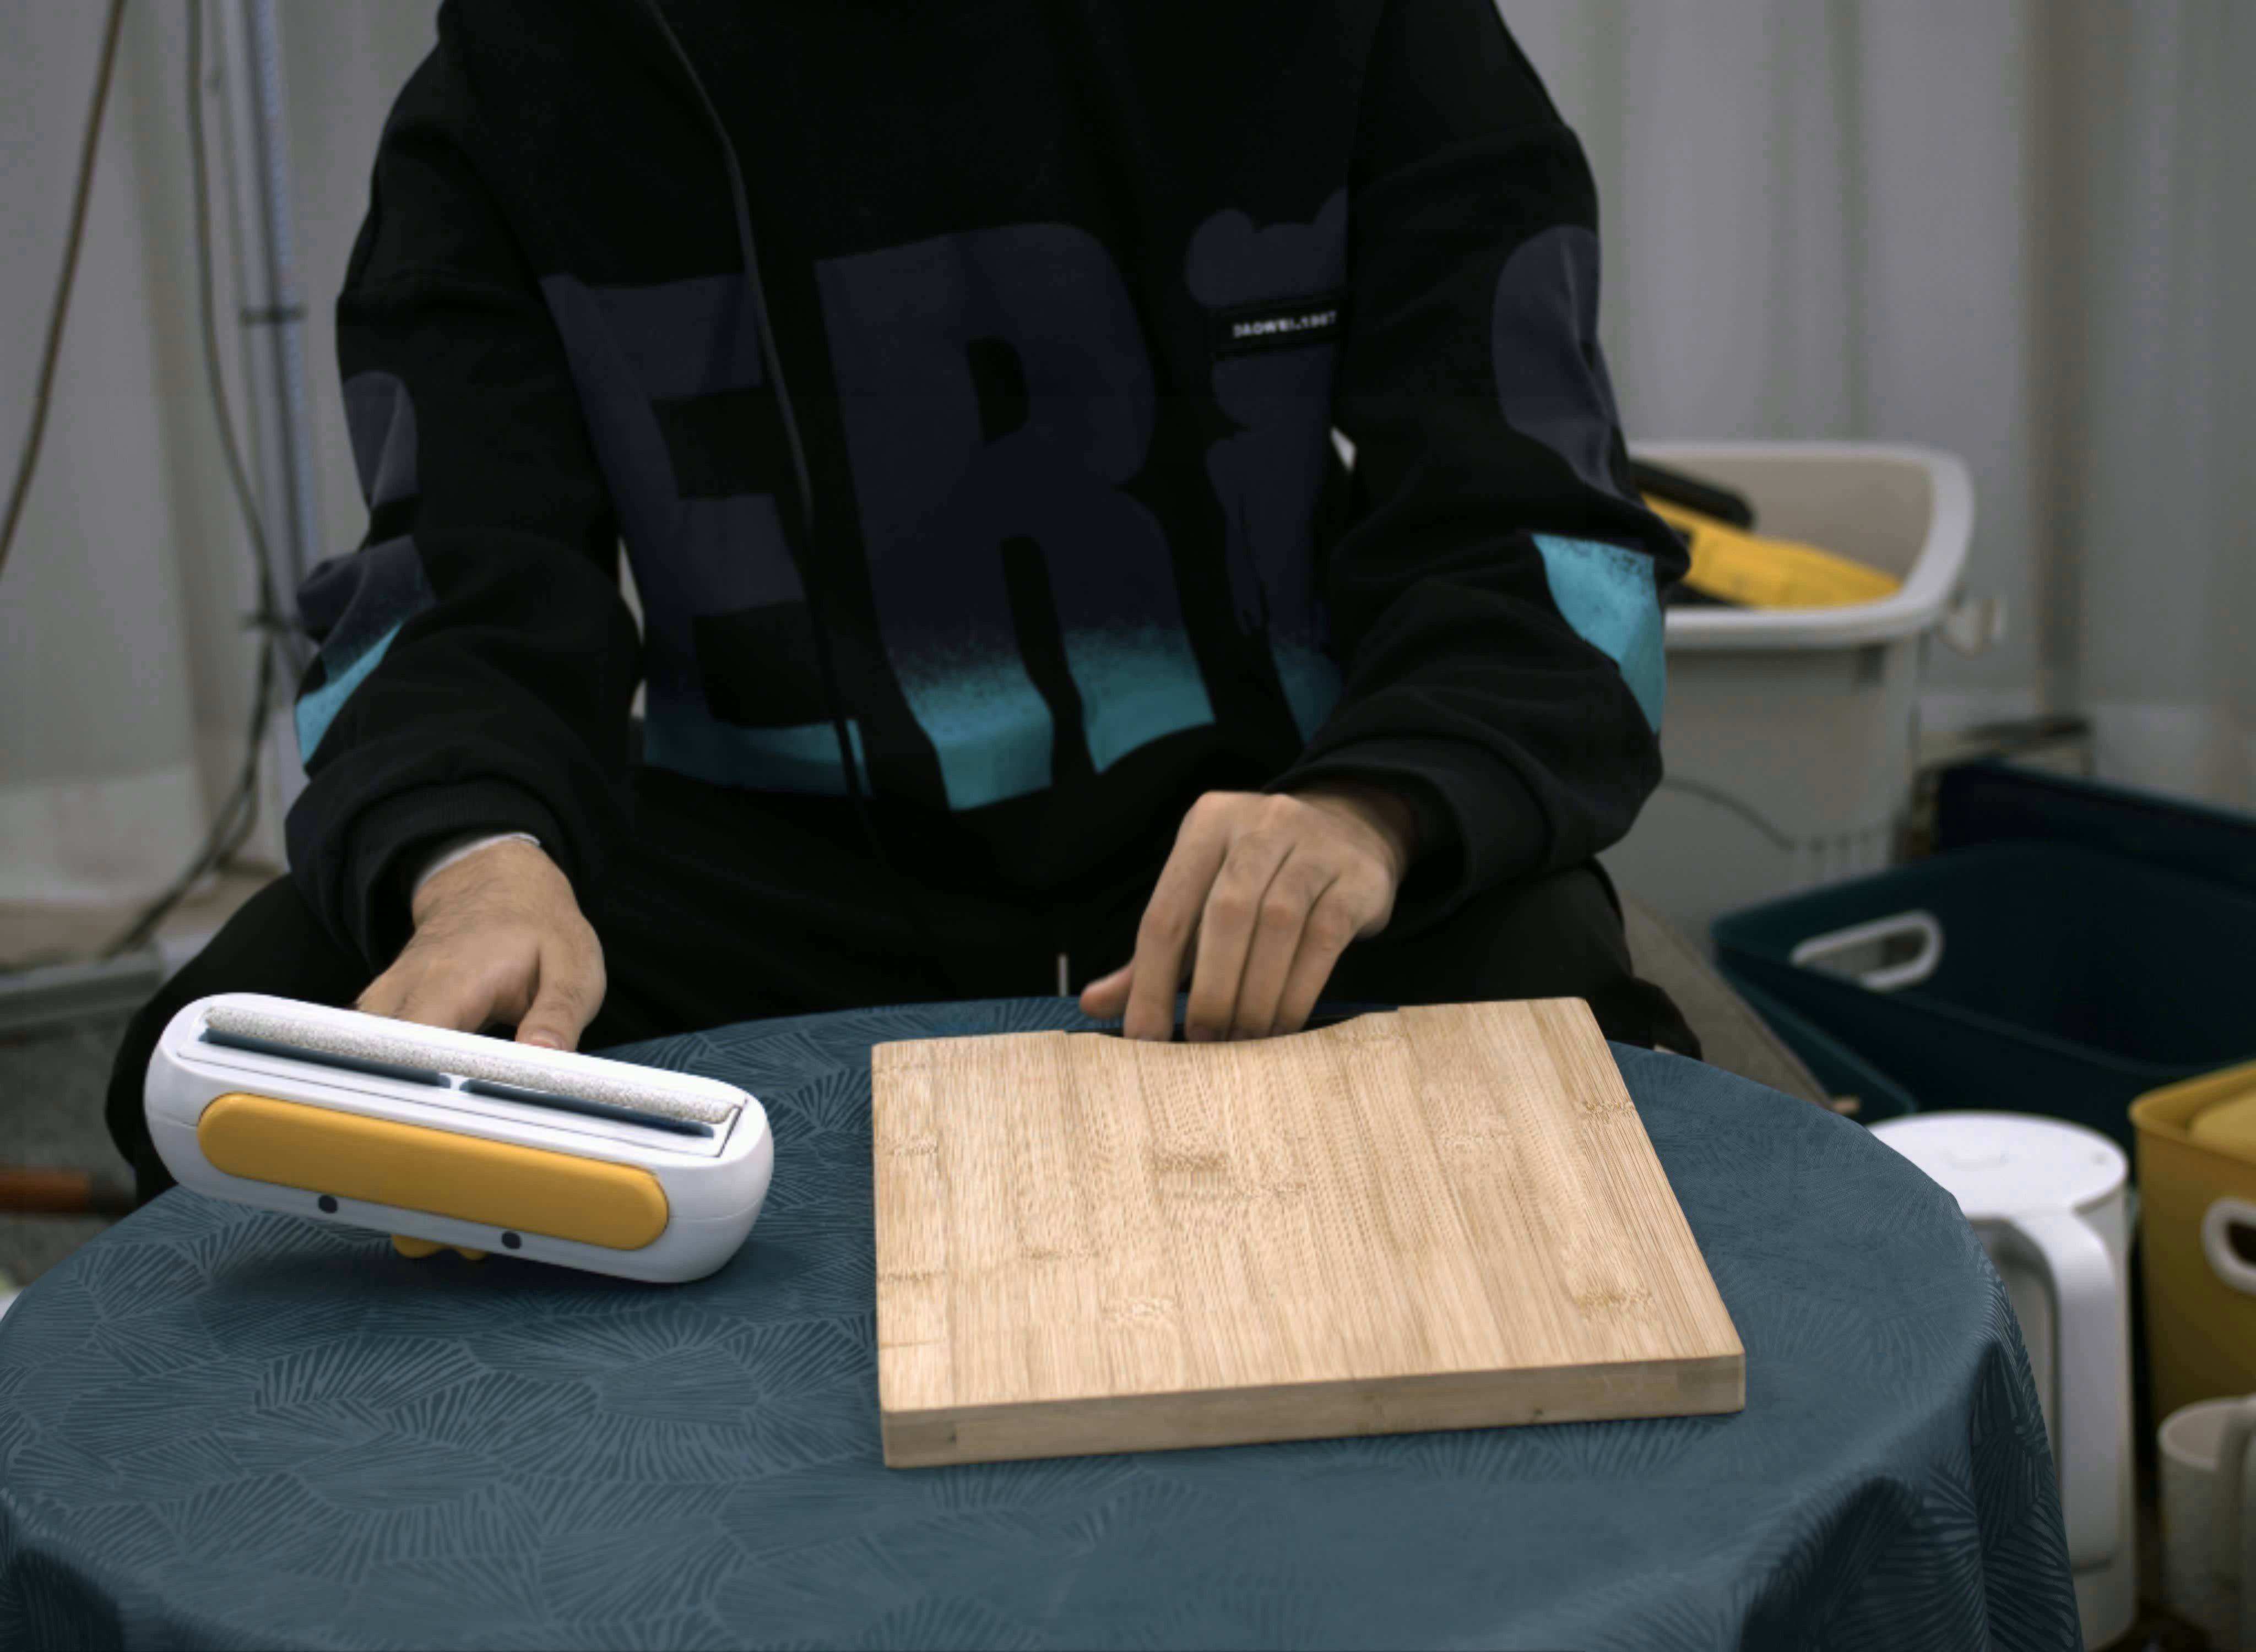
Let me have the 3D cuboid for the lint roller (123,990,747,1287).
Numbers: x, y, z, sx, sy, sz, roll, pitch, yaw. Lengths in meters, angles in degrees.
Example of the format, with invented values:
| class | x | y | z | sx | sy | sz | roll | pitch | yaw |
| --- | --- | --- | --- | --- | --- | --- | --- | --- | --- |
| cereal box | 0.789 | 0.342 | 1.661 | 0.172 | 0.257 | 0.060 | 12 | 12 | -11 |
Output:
| class | x | y | z | sx | sy | sz | roll | pitch | yaw |
| --- | --- | --- | --- | --- | --- | --- | --- | --- | --- |
| lint roller | -0.201 | 0.088 | 1.727 | 0.192 | 0.074 | 0.193 | 7 | 14 | 10 |

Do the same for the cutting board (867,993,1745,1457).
| class | x | y | z | sx | sy | sz | roll | pitch | yaw |
| --- | --- | --- | --- | --- | --- | --- | --- | --- | --- |
| cutting board | 0.043 | 0.117 | 1.668 | 0.250 | 0.023 | 0.351 | -4 | 15 | -3 |
